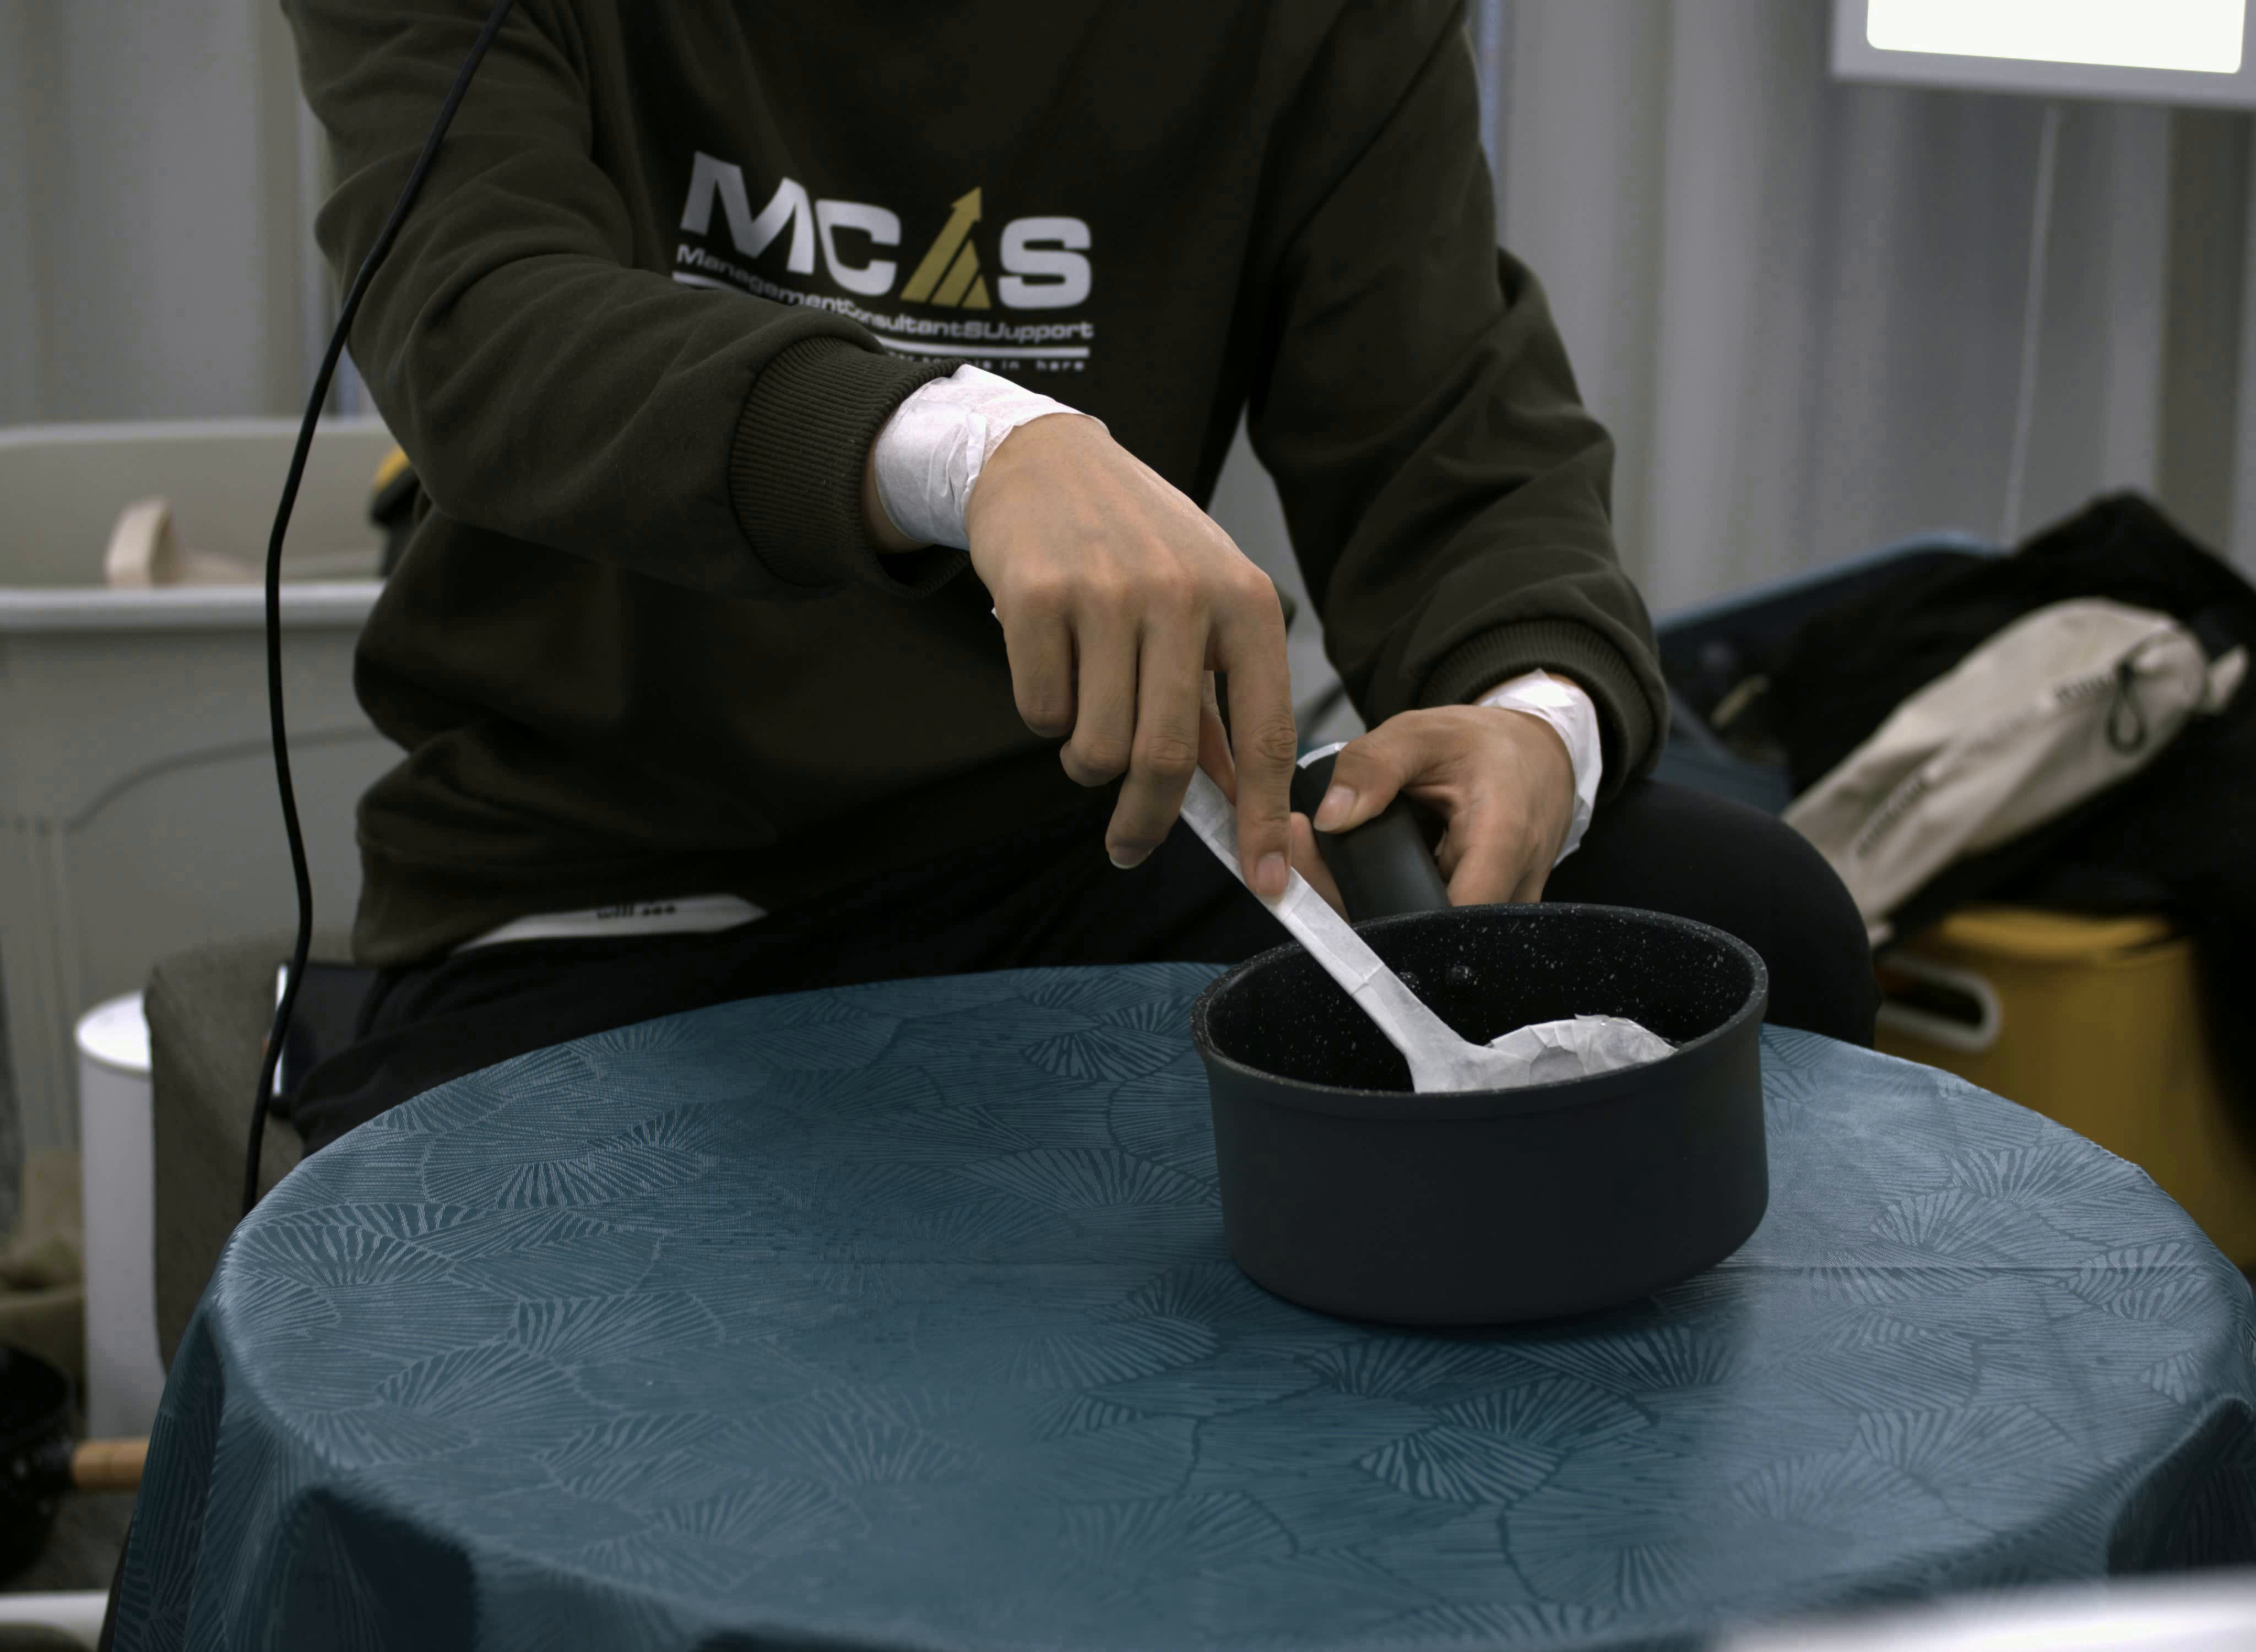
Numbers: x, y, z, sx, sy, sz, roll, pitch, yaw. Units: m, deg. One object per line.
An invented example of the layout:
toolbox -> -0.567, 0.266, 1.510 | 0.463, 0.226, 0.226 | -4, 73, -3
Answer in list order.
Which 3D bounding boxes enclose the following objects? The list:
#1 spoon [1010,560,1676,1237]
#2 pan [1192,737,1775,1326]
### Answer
spoon -> 0.065, 0.014, 1.568 | 0.100, 0.277, 0.059 | -38, -6, -24
pan -> 0.100, 0.059, 1.635 | 0.171, 0.087, 0.326 | -6, 18, -3
